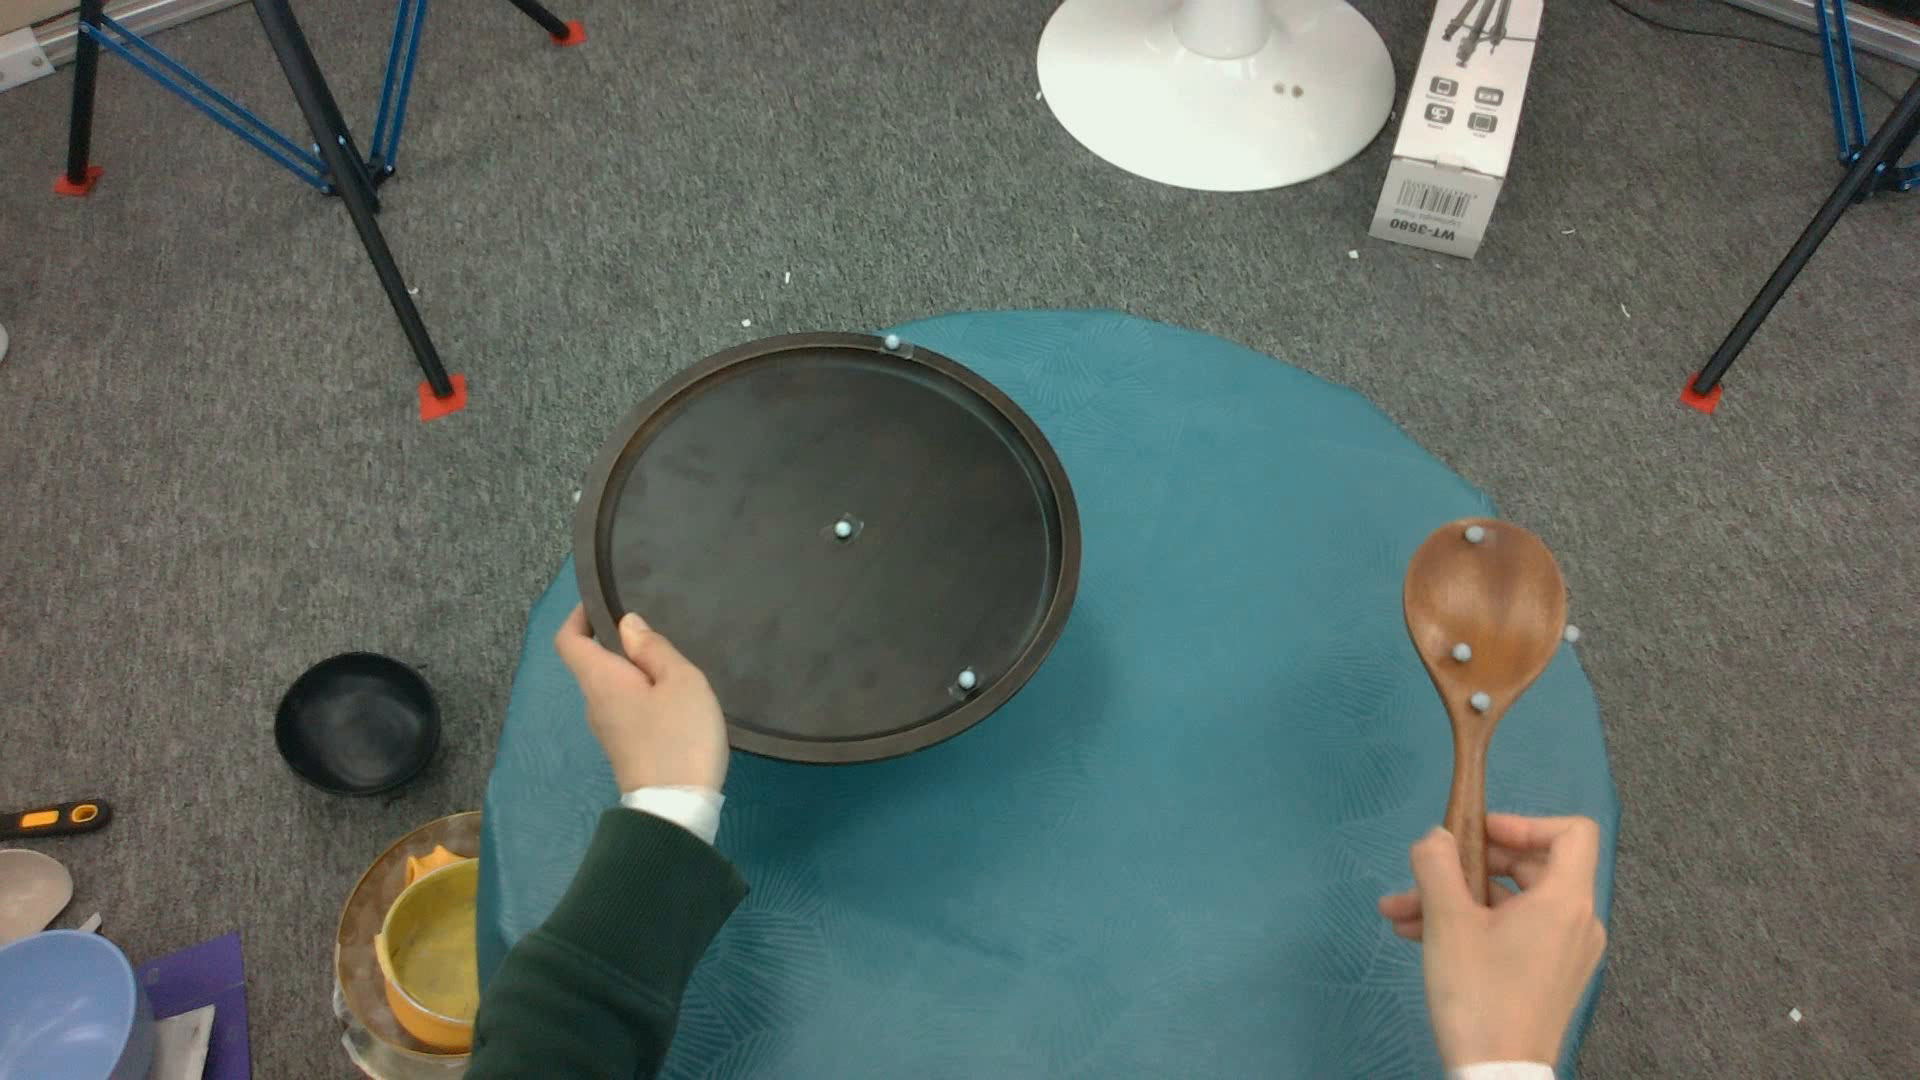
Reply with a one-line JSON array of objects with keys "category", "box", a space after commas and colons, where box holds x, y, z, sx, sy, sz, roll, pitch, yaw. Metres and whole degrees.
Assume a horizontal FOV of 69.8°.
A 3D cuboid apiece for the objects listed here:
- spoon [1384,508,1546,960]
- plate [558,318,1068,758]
[{"category": "spoon", "box": [0.227, 0.082, 0.628, 0.075, 0.017, 0.217, 9, 64, 8]}, {"category": "plate", "box": [-0.072, -0.007, 0.695, 0.255, 0.029, 0.256, 3, 58, -4]}]
